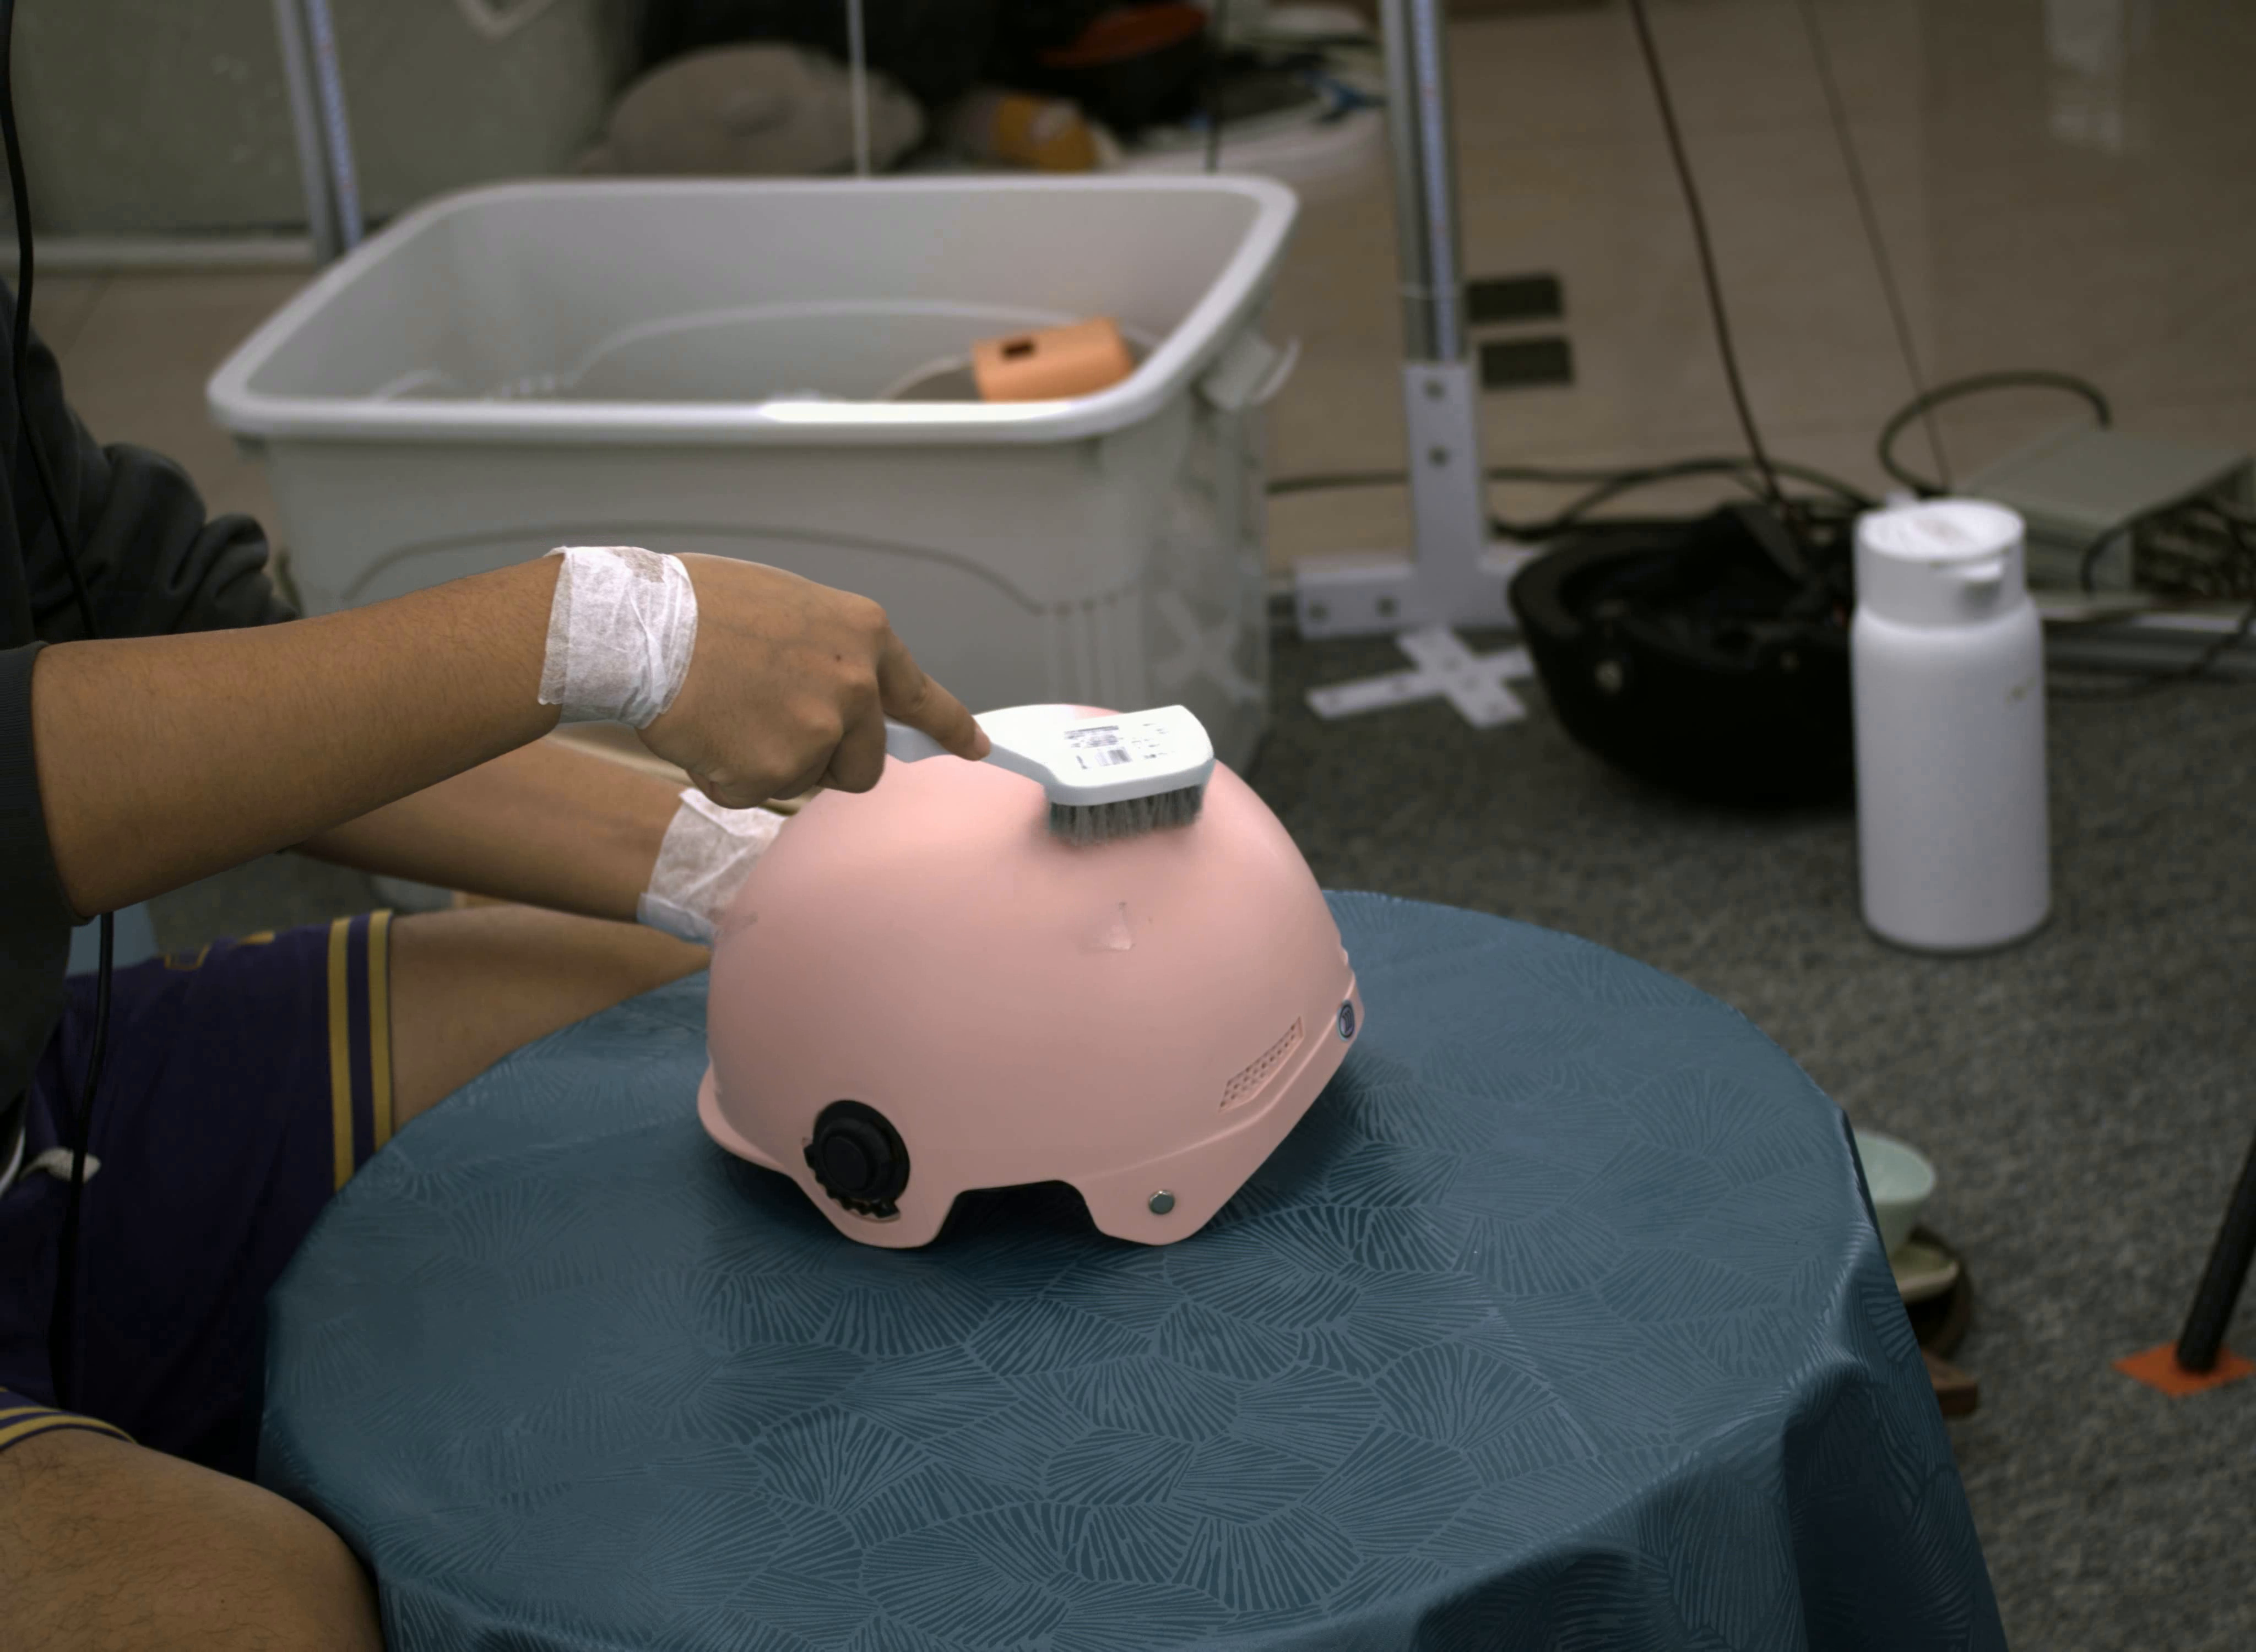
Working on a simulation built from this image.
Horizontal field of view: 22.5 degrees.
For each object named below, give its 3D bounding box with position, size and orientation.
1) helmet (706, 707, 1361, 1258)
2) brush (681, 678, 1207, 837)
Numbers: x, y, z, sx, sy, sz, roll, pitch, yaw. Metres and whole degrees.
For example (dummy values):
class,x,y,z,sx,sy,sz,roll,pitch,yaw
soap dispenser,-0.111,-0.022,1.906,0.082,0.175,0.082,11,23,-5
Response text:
class,x,y,z,sx,sy,sz,roll,pitch,yaw
helmet,-0.049,0.042,2.170,0.265,0.161,0.230,0,31,22
brush,-0.068,-0.024,2.020,0.244,0.051,0.034,3,44,-42
